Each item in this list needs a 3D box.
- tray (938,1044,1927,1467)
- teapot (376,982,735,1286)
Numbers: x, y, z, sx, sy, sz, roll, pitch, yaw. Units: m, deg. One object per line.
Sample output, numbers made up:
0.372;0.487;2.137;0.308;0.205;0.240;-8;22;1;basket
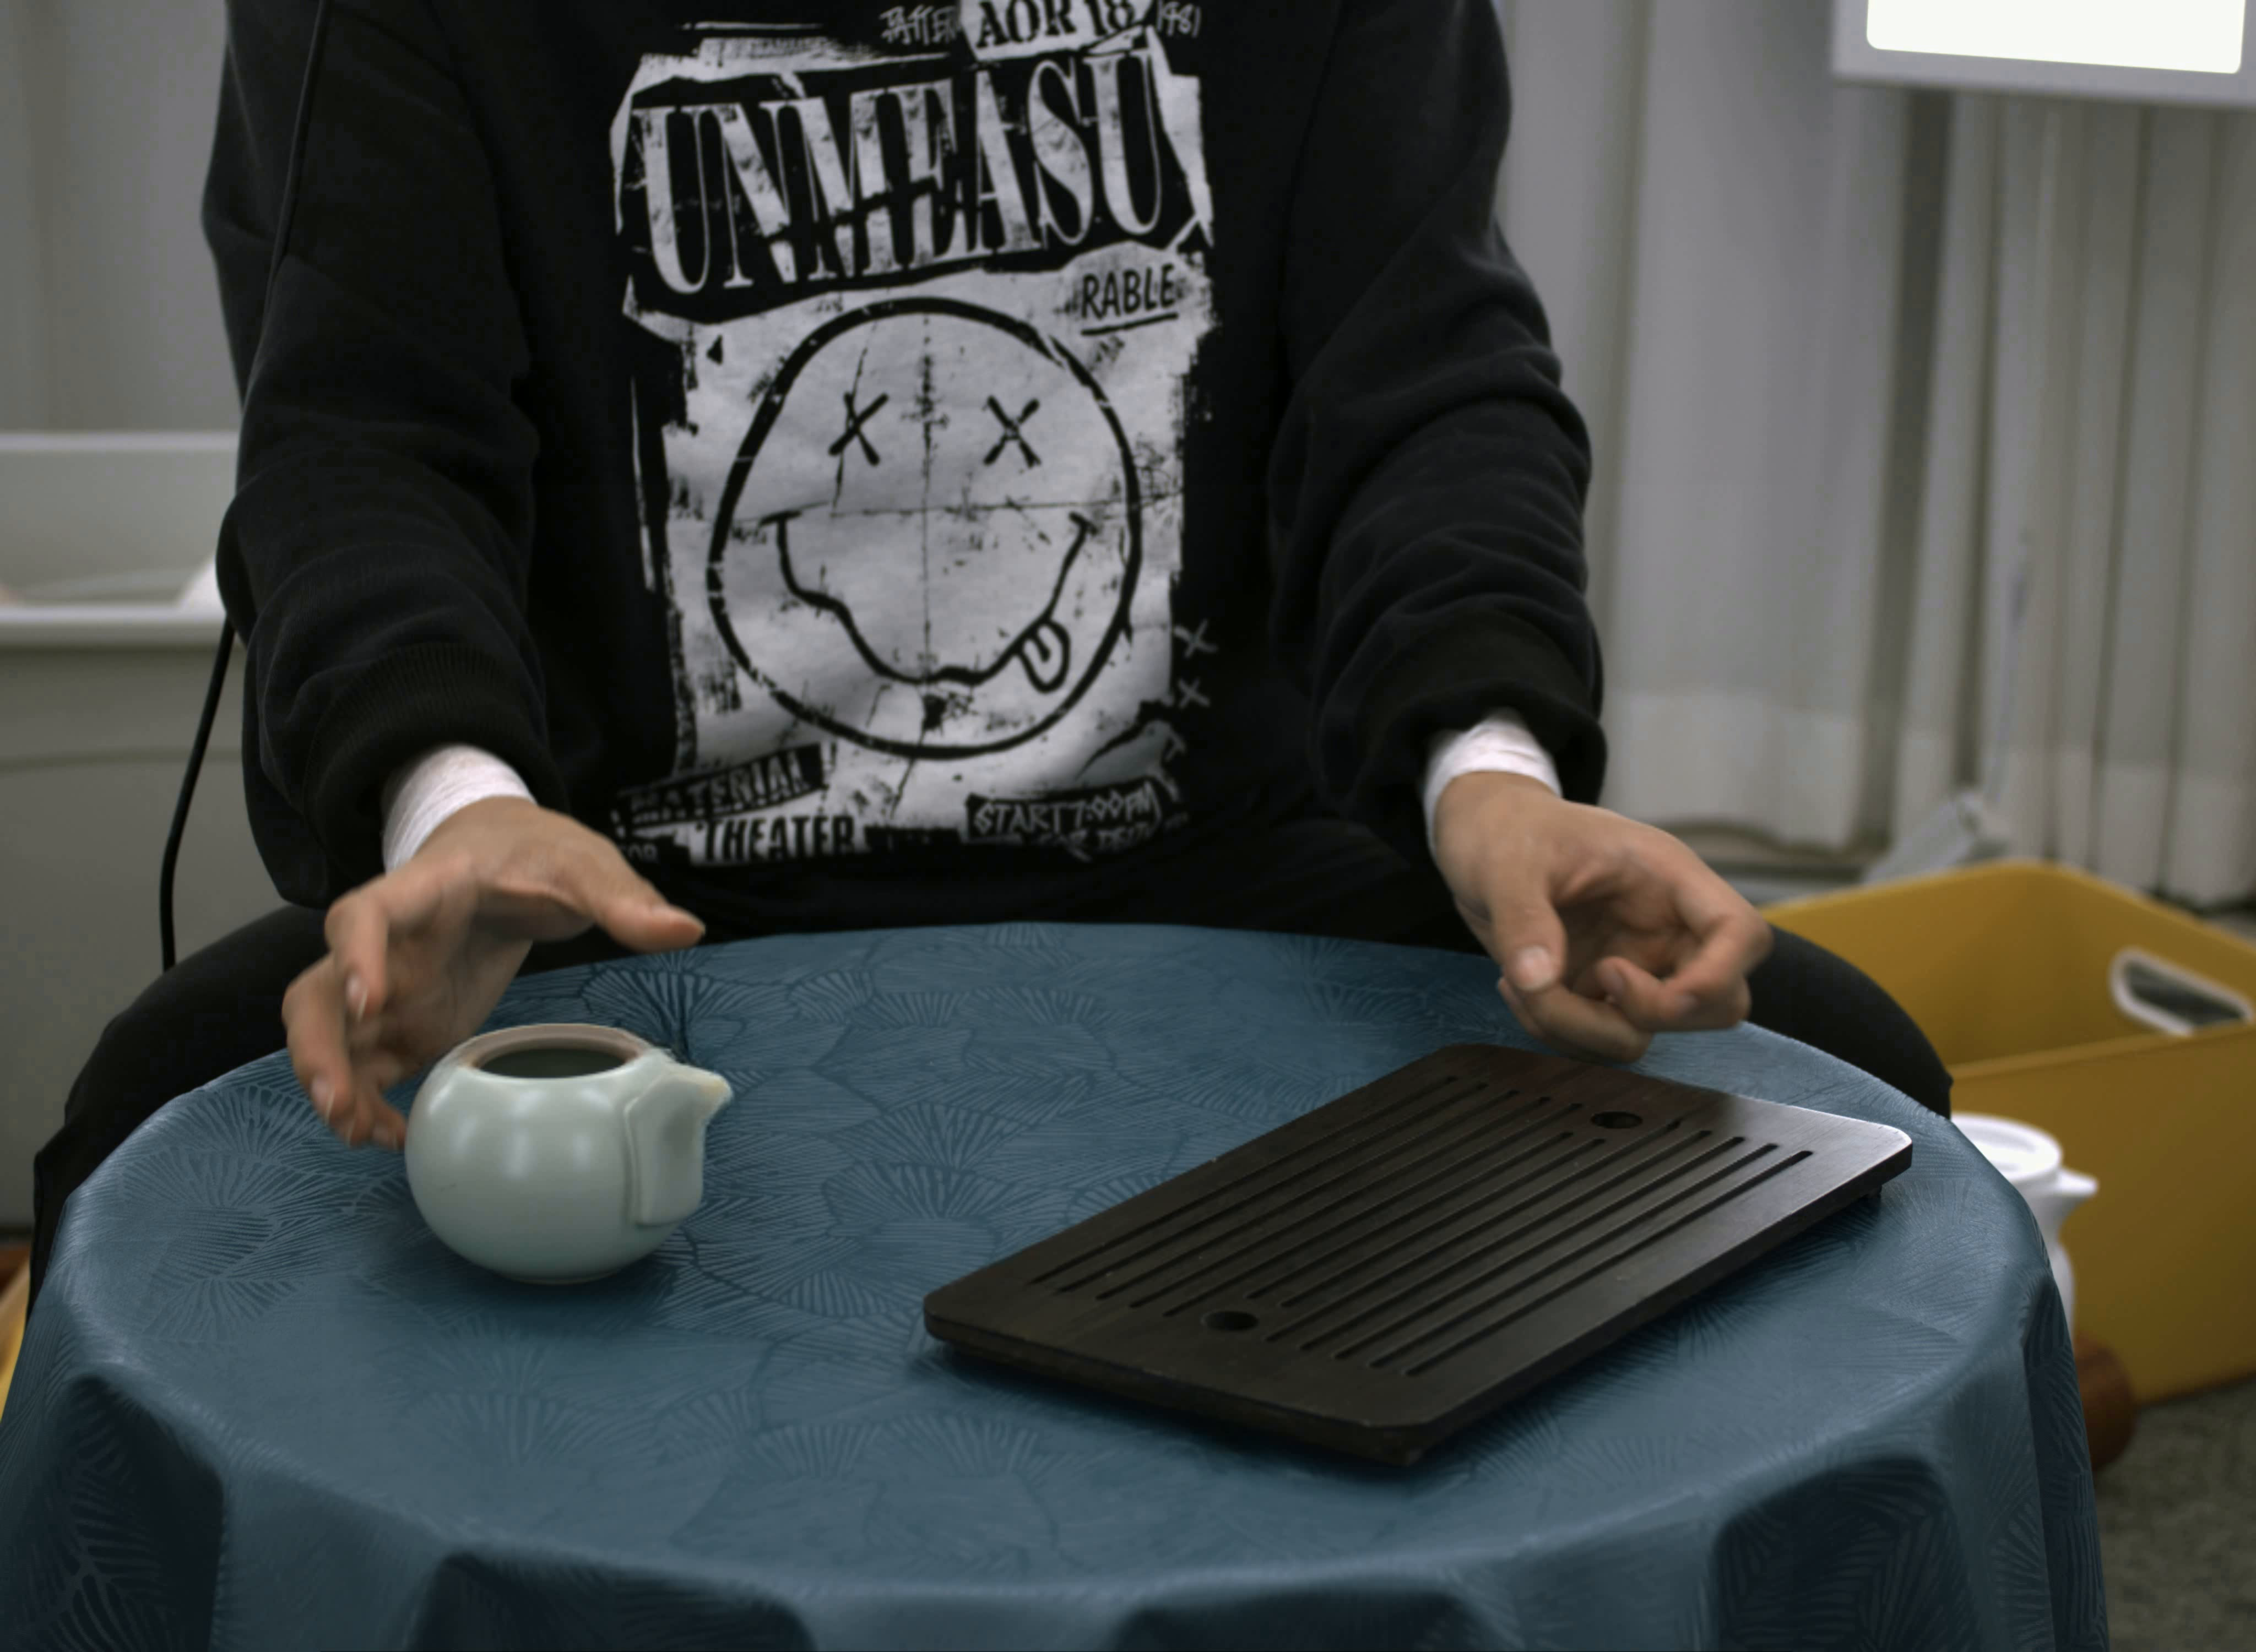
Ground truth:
0.096;0.123;1.554;0.168;0.019;0.307;11;18;33;tray
-0.168;0.094;1.548;0.142;0.075;0.089;16;22;39;teapot
